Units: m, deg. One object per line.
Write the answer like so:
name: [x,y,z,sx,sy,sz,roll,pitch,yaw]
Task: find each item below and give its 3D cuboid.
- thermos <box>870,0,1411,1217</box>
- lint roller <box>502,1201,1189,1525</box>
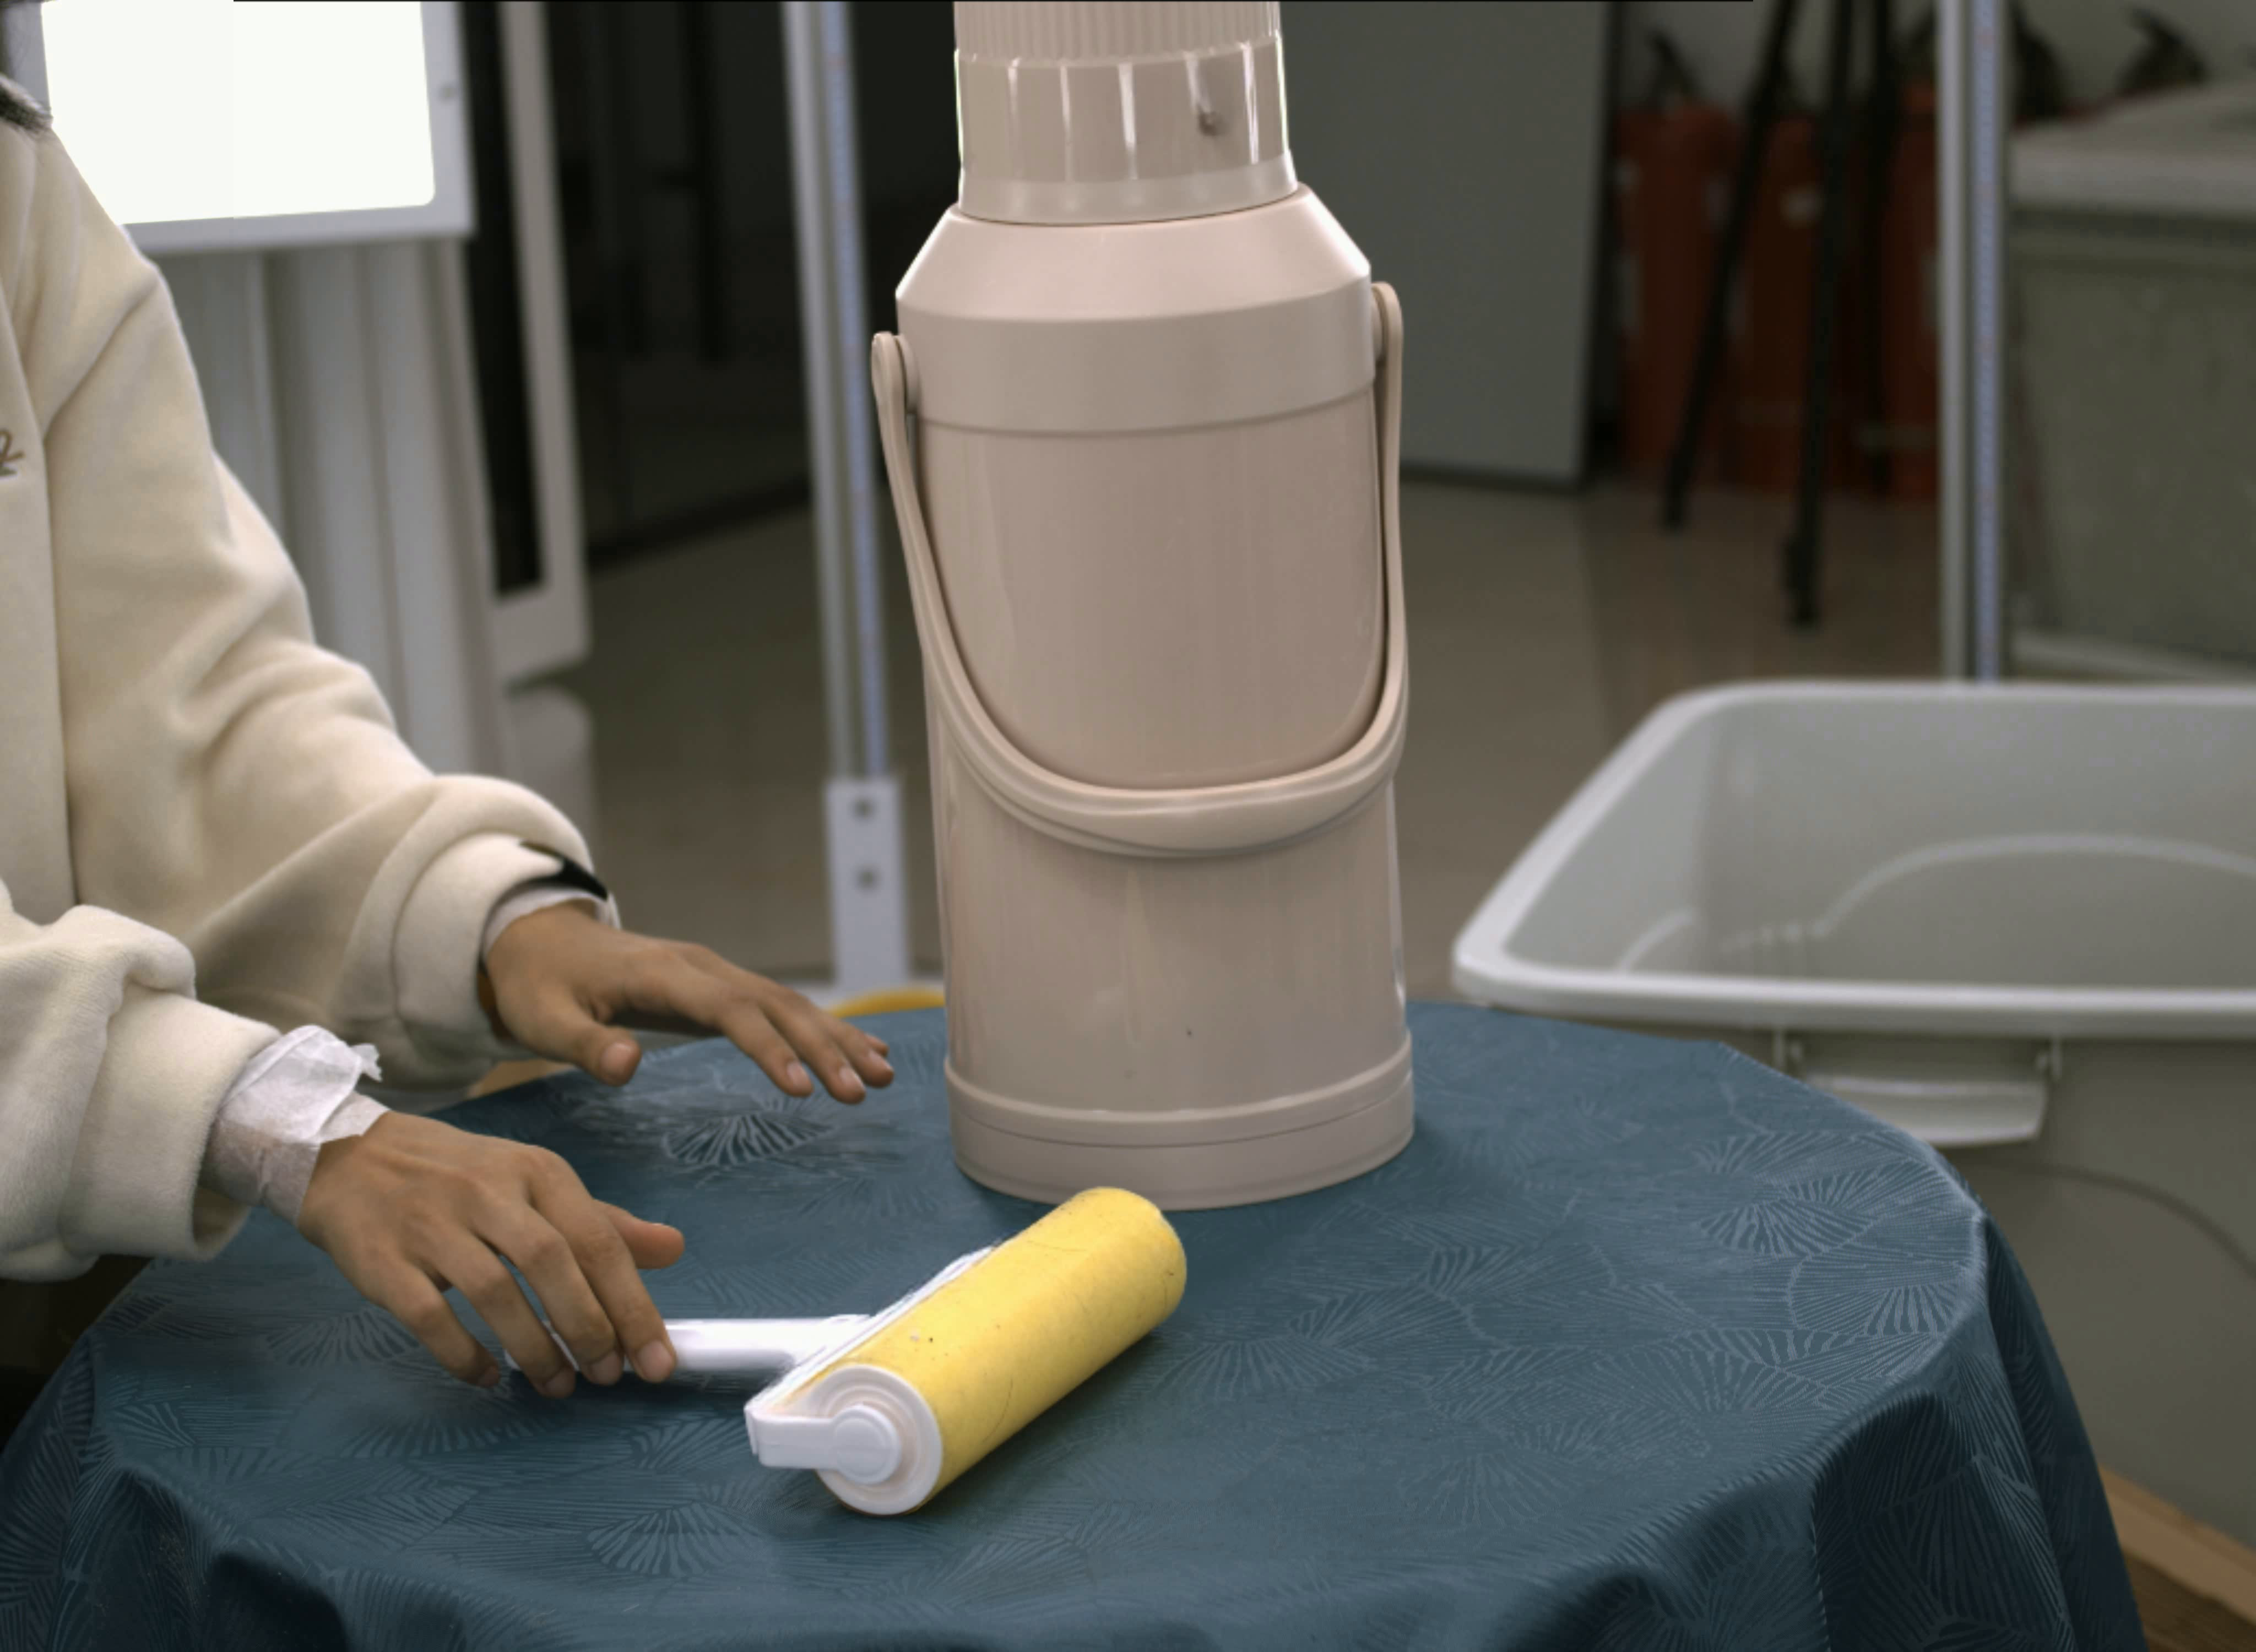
thermos: [0.005,-0.089,1.788,0.172,0.411,0.208,-7,13,-12]
lint roller: [-0.100,0.144,1.592,0.192,0.052,0.172,10,18,24]
